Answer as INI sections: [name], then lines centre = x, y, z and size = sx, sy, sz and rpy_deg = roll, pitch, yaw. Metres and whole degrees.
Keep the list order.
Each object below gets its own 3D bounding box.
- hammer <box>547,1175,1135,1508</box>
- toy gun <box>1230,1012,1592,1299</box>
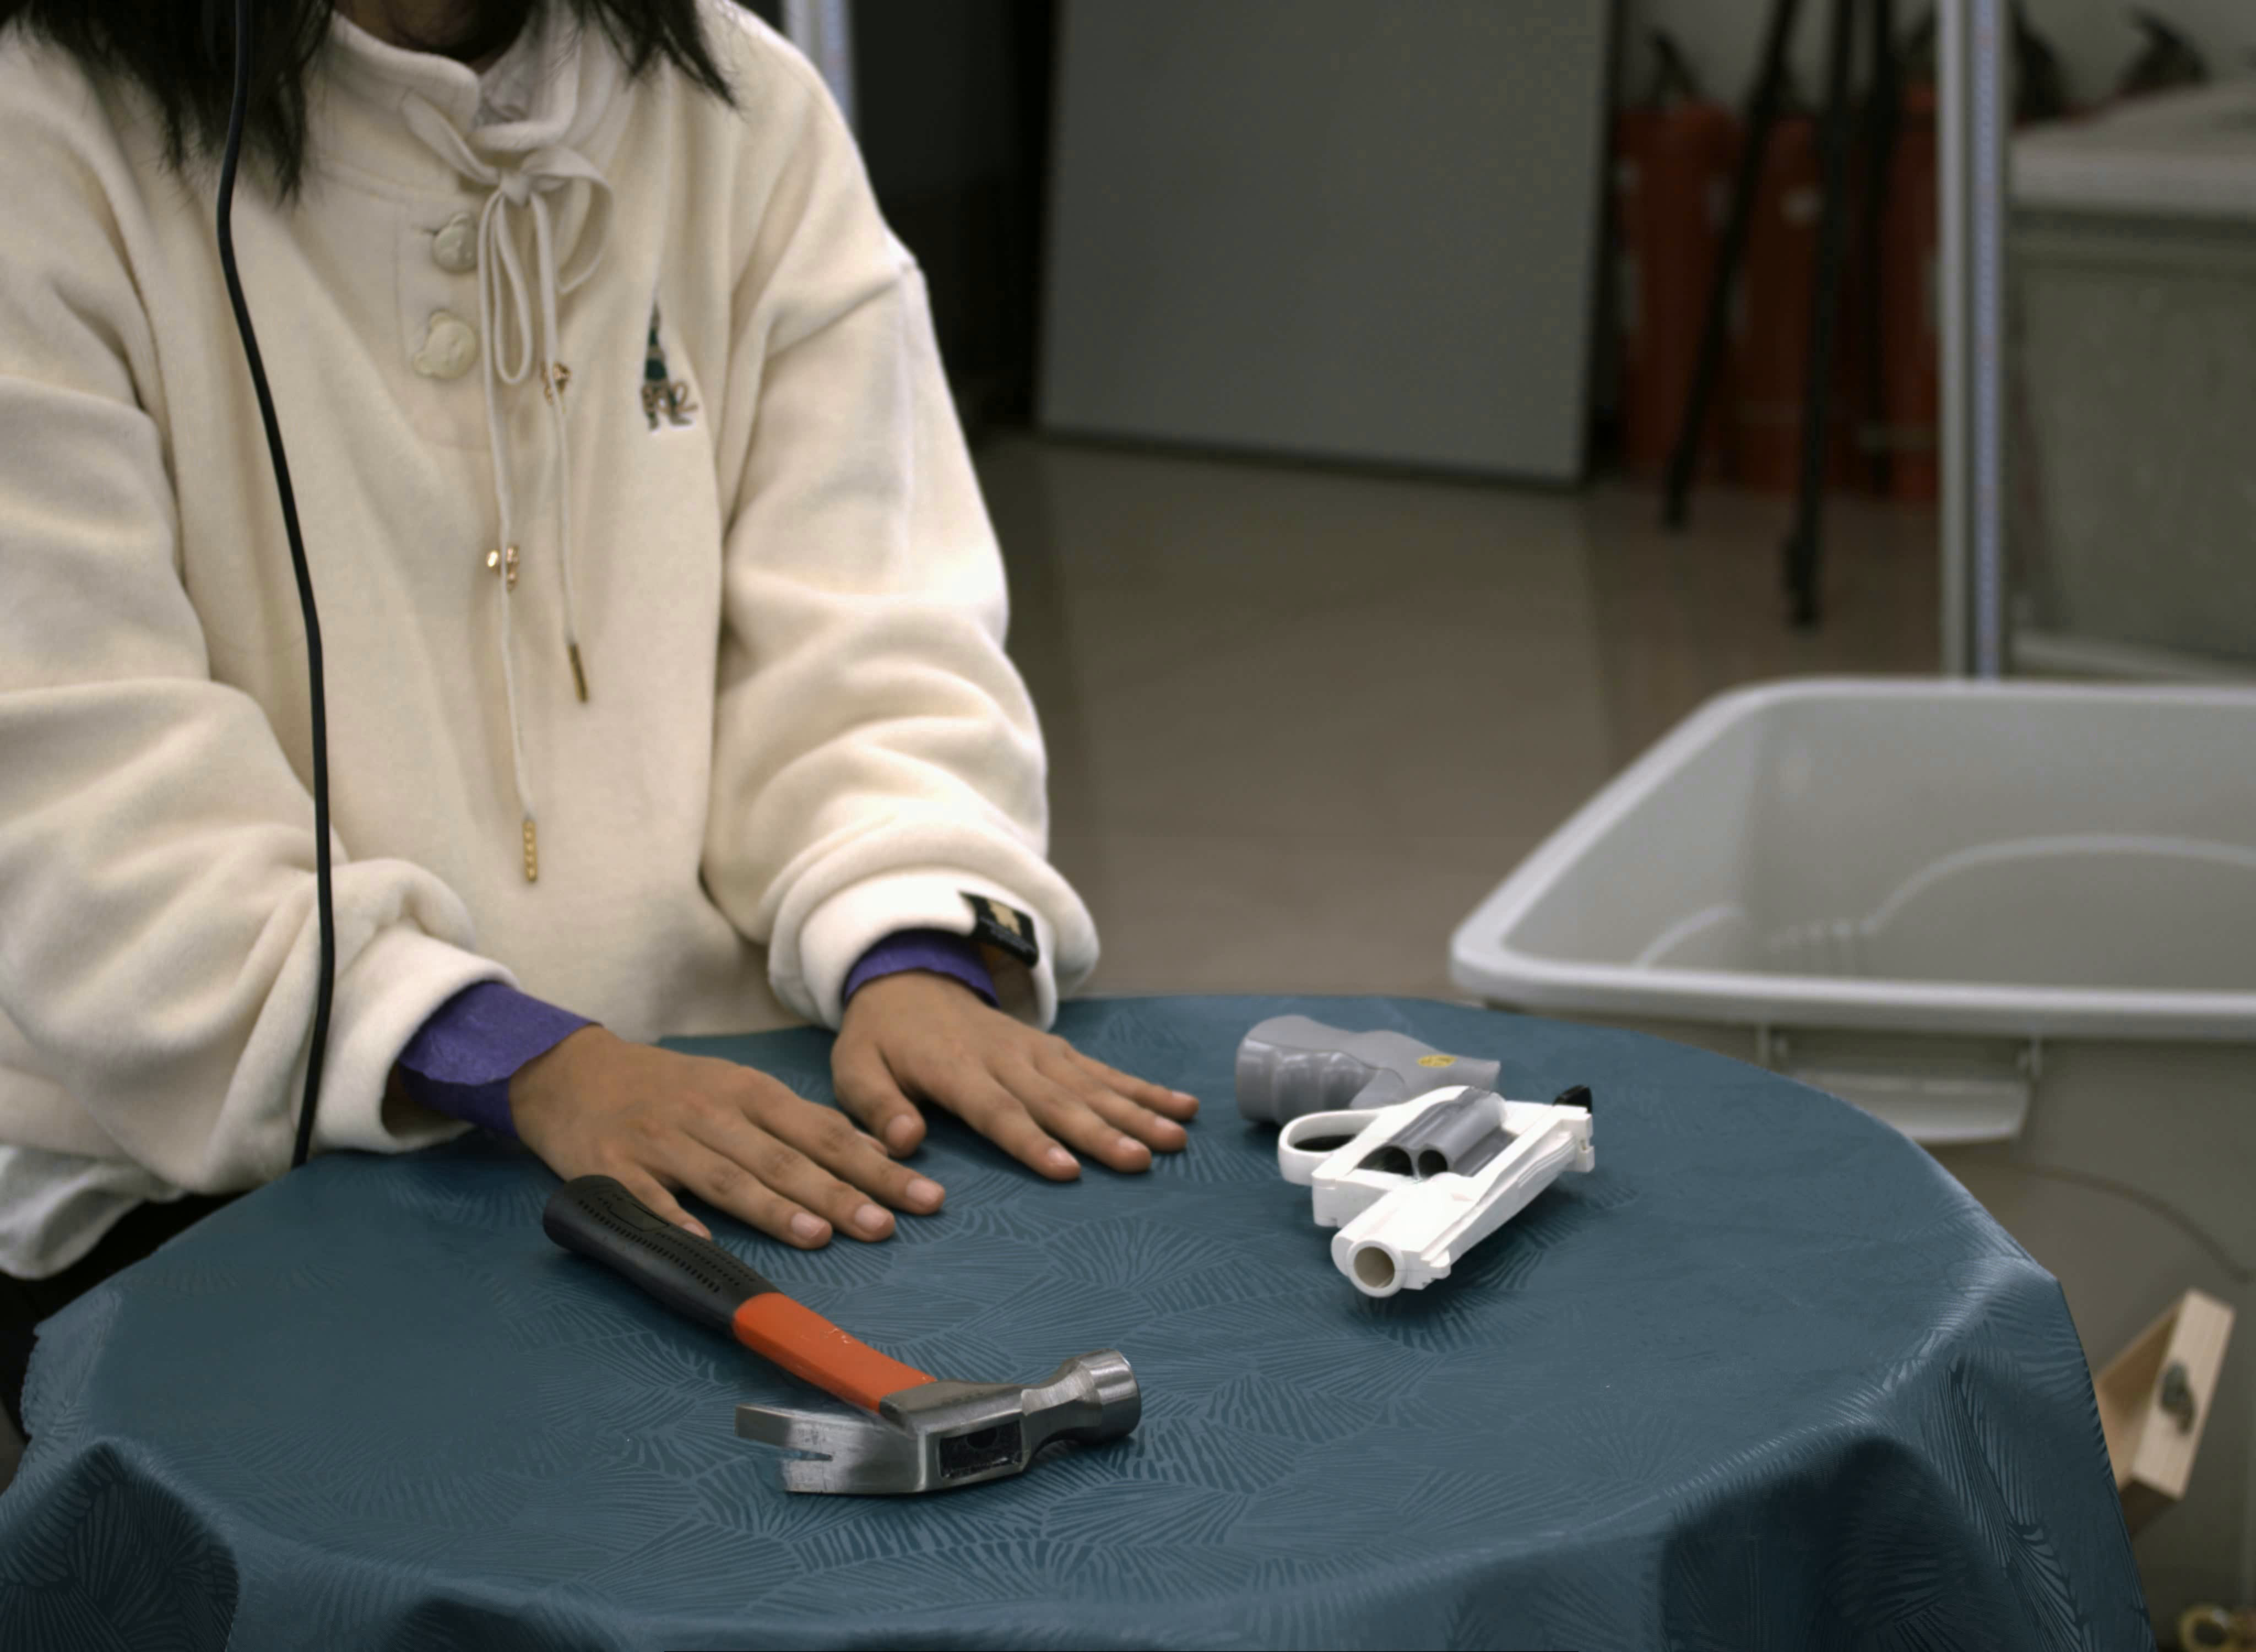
[hammer]
centre = -0.110, 0.149, 1.631
size = 0.108, 0.026, 0.280
rpy_deg = -21, 19, -24
[toy gun]
centre = 0.075, 0.104, 1.733
size = 0.142, 0.039, 0.206
rpy_deg = 3, 16, 23
